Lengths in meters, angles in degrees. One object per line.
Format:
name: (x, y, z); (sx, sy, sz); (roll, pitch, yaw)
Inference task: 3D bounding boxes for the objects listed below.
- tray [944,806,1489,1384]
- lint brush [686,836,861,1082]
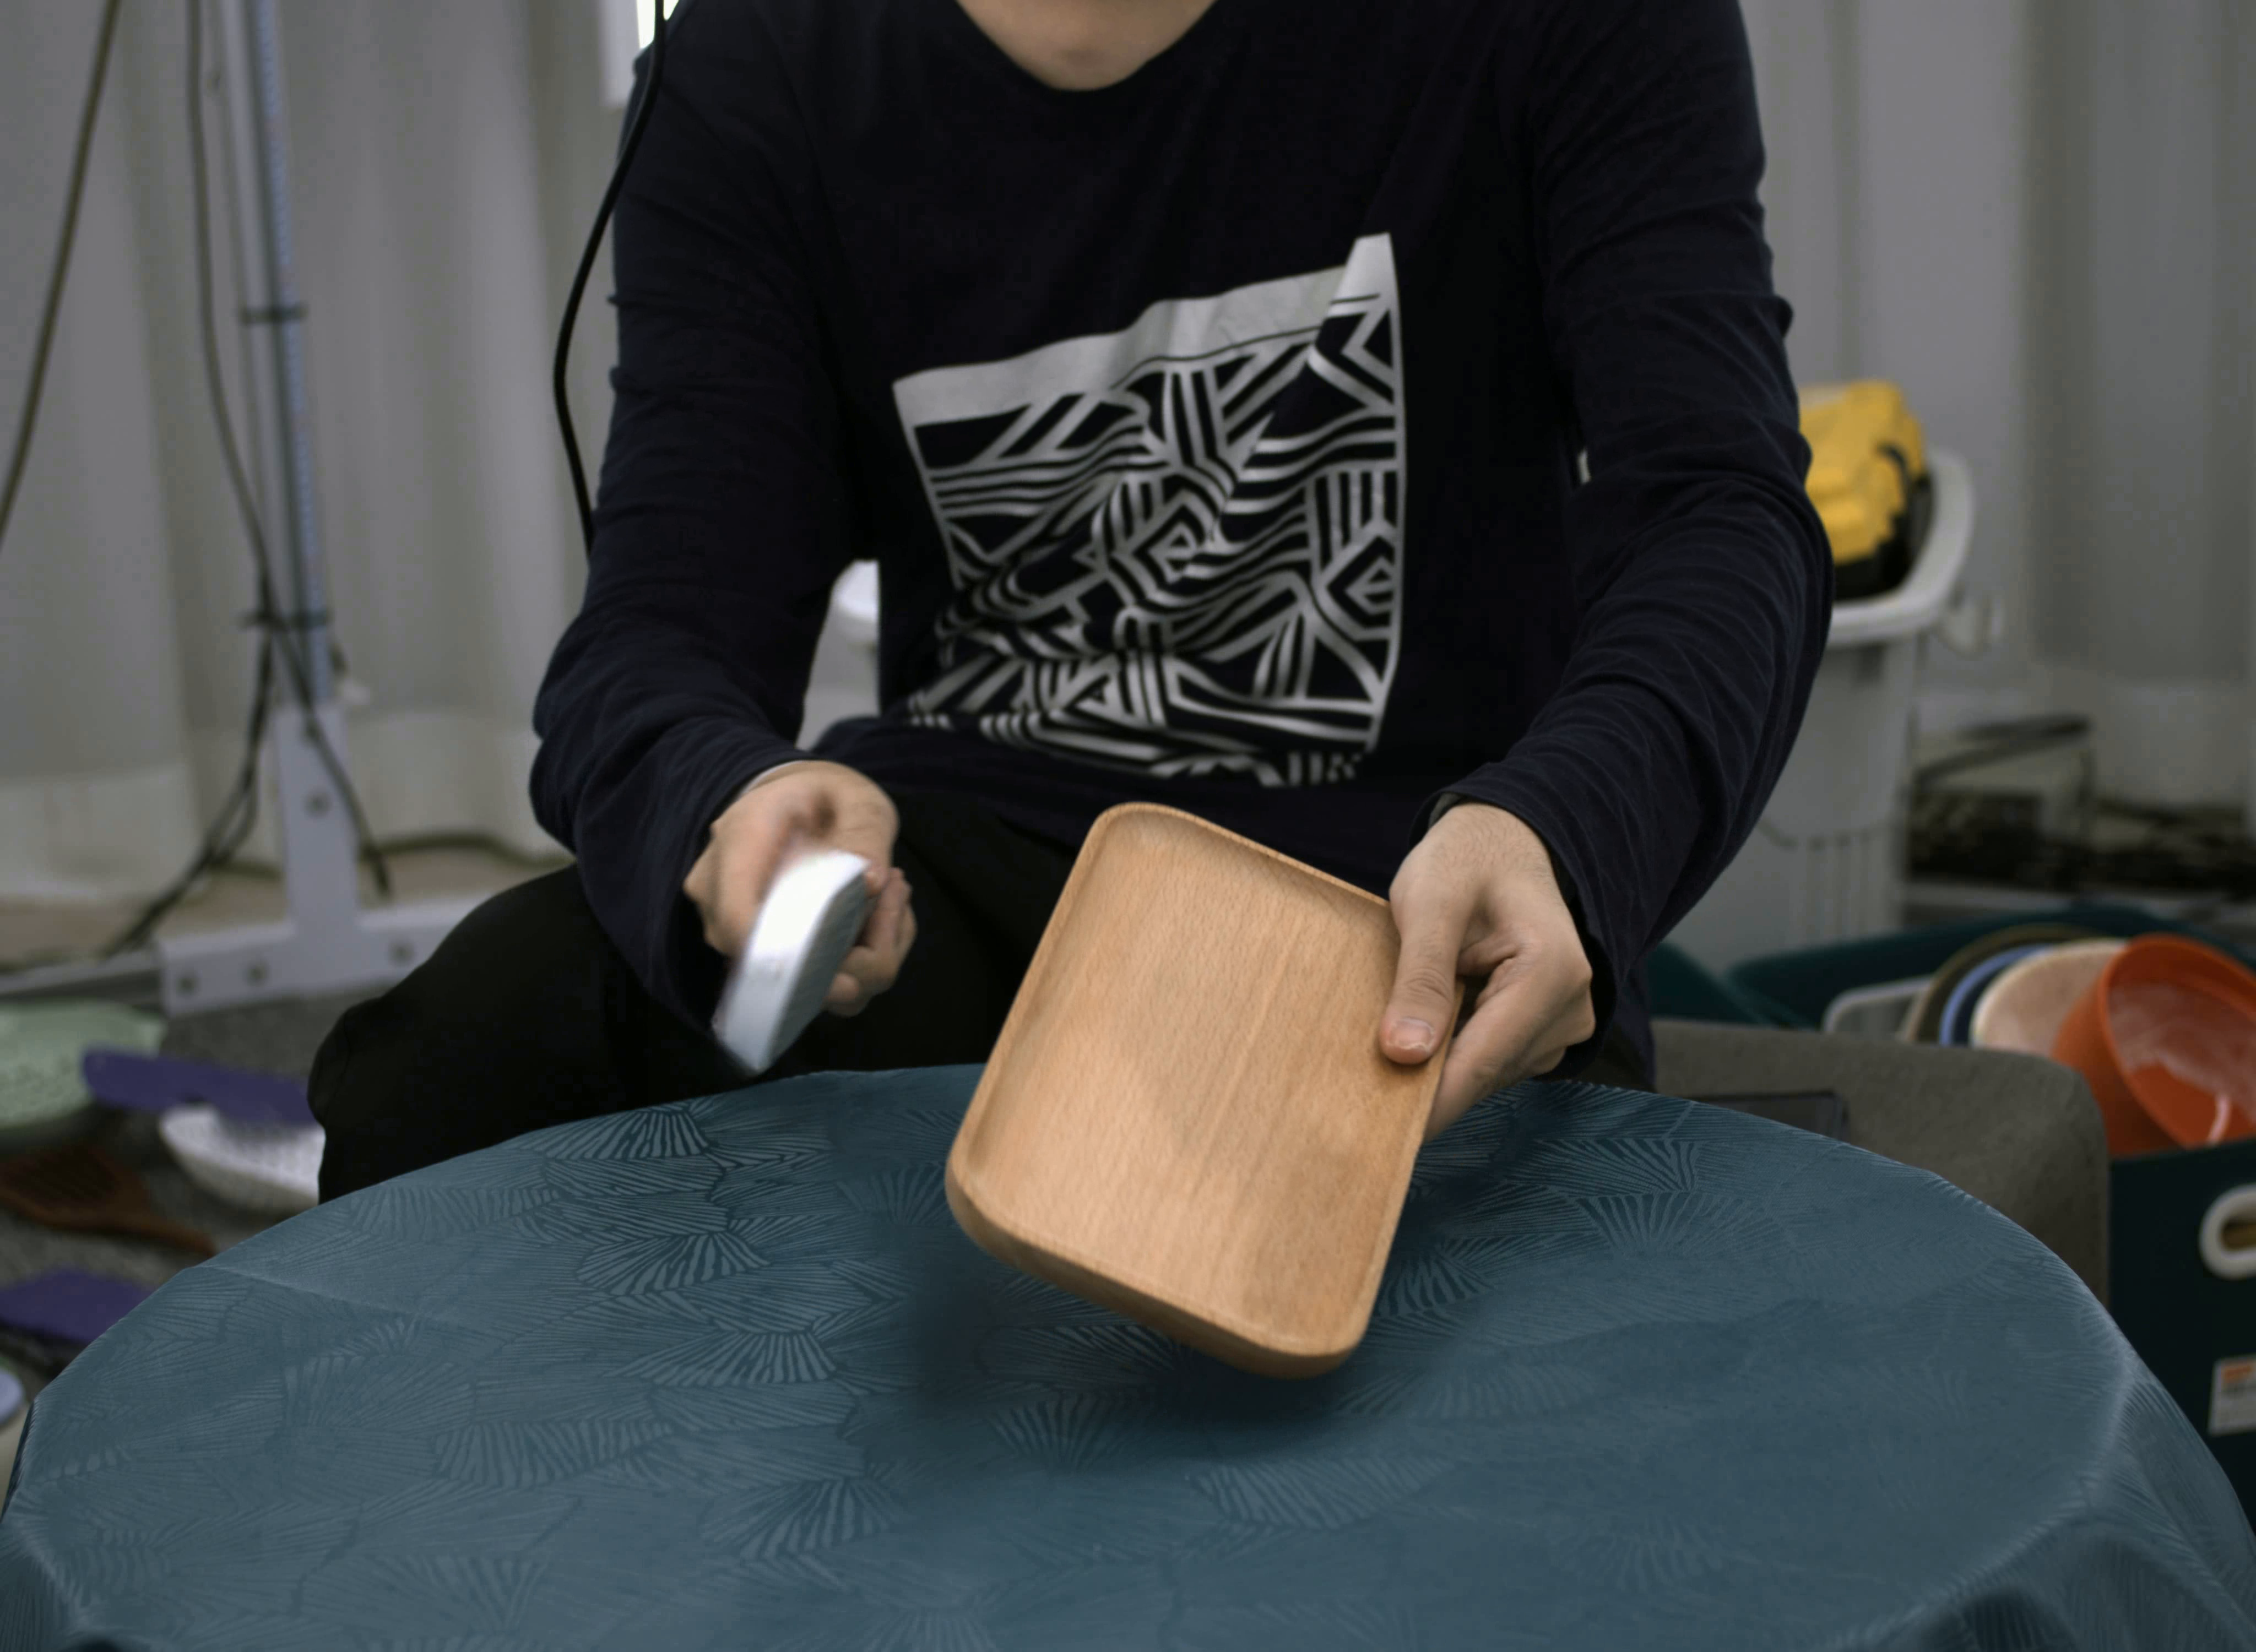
tray: (0.029, 0.076, 1.612); (0.130, 0.023, 0.253); (25, 30, 1)
lint brush: (-0.103, 0.033, 1.654); (0.021, 0.060, 0.309); (16, 5, 1)
